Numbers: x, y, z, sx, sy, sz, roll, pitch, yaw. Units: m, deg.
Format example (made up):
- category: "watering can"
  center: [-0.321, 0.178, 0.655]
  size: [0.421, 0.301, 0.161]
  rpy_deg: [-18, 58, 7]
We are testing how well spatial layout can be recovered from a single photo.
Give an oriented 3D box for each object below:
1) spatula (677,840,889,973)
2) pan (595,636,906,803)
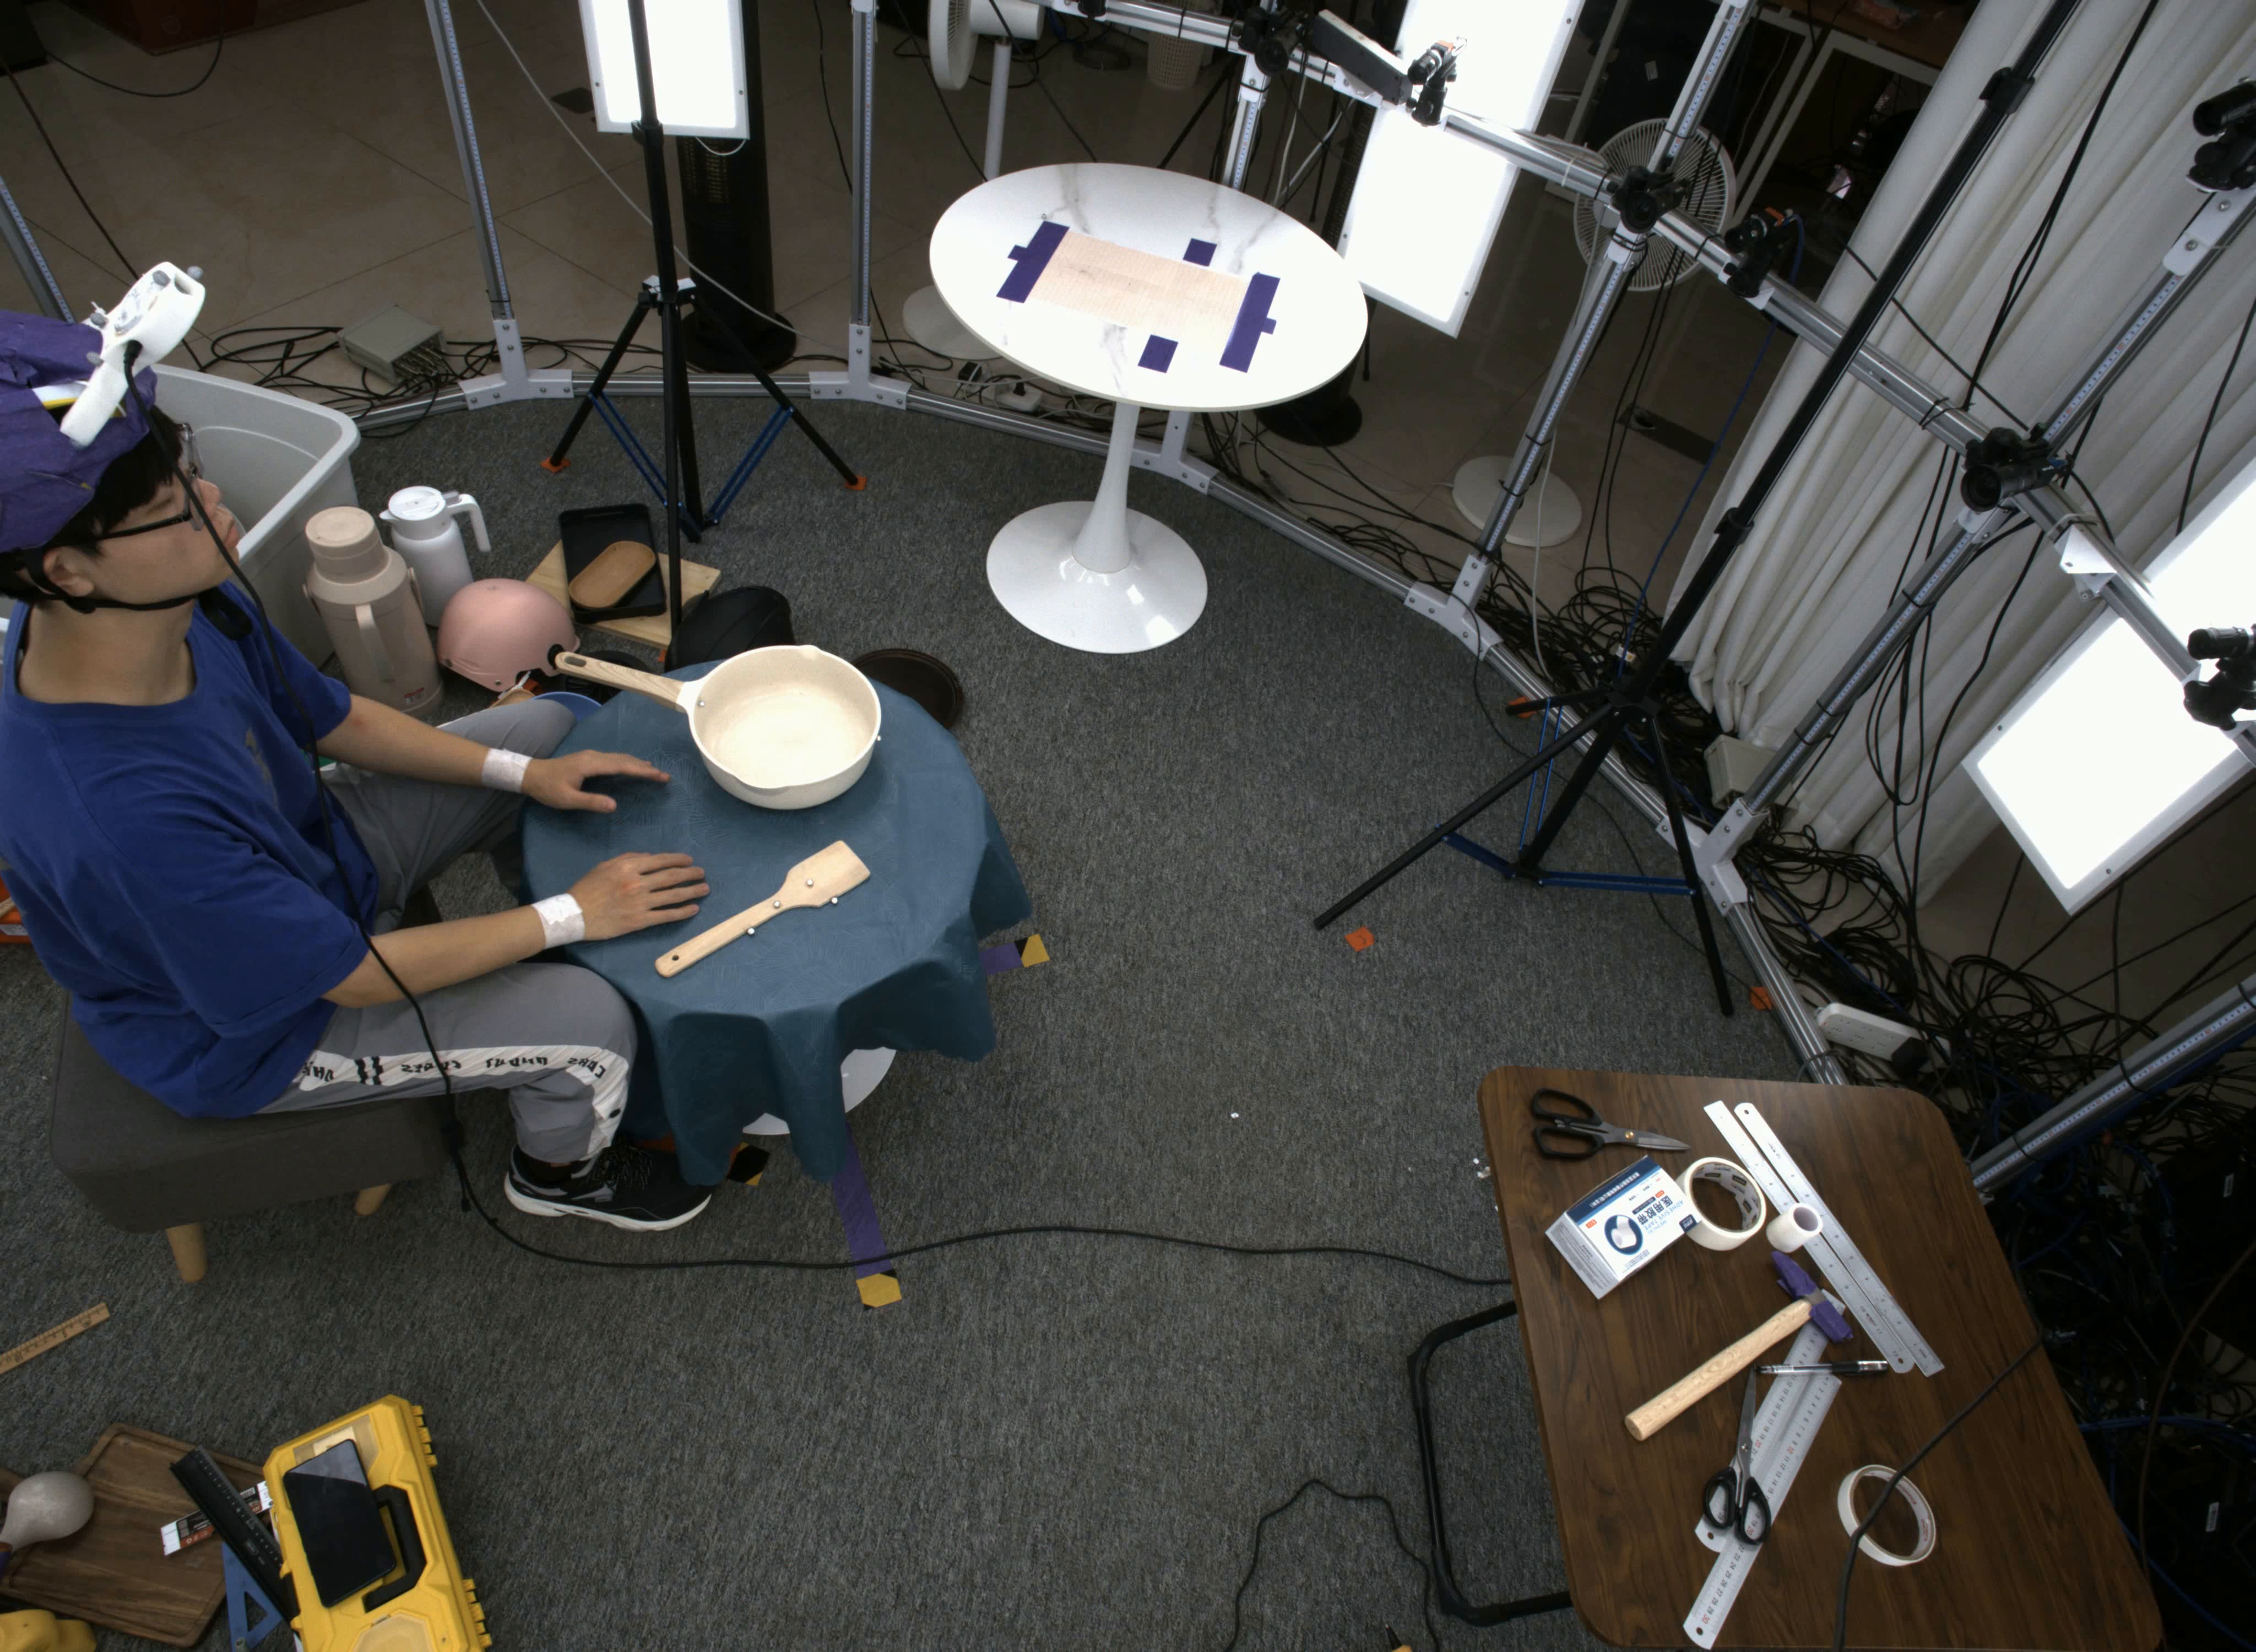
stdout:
- category: "spatula"
  center: [-0.439, 0.105, 1.646]
  size: [0.294, 0.011, 0.070]
  rpy_deg: [-31, 68, -31]
- category: "pan"
  center: [-0.521, -0.160, 1.764]
  size: [0.433, 0.104, 0.259]
  rpy_deg: [11, 54, -6]
